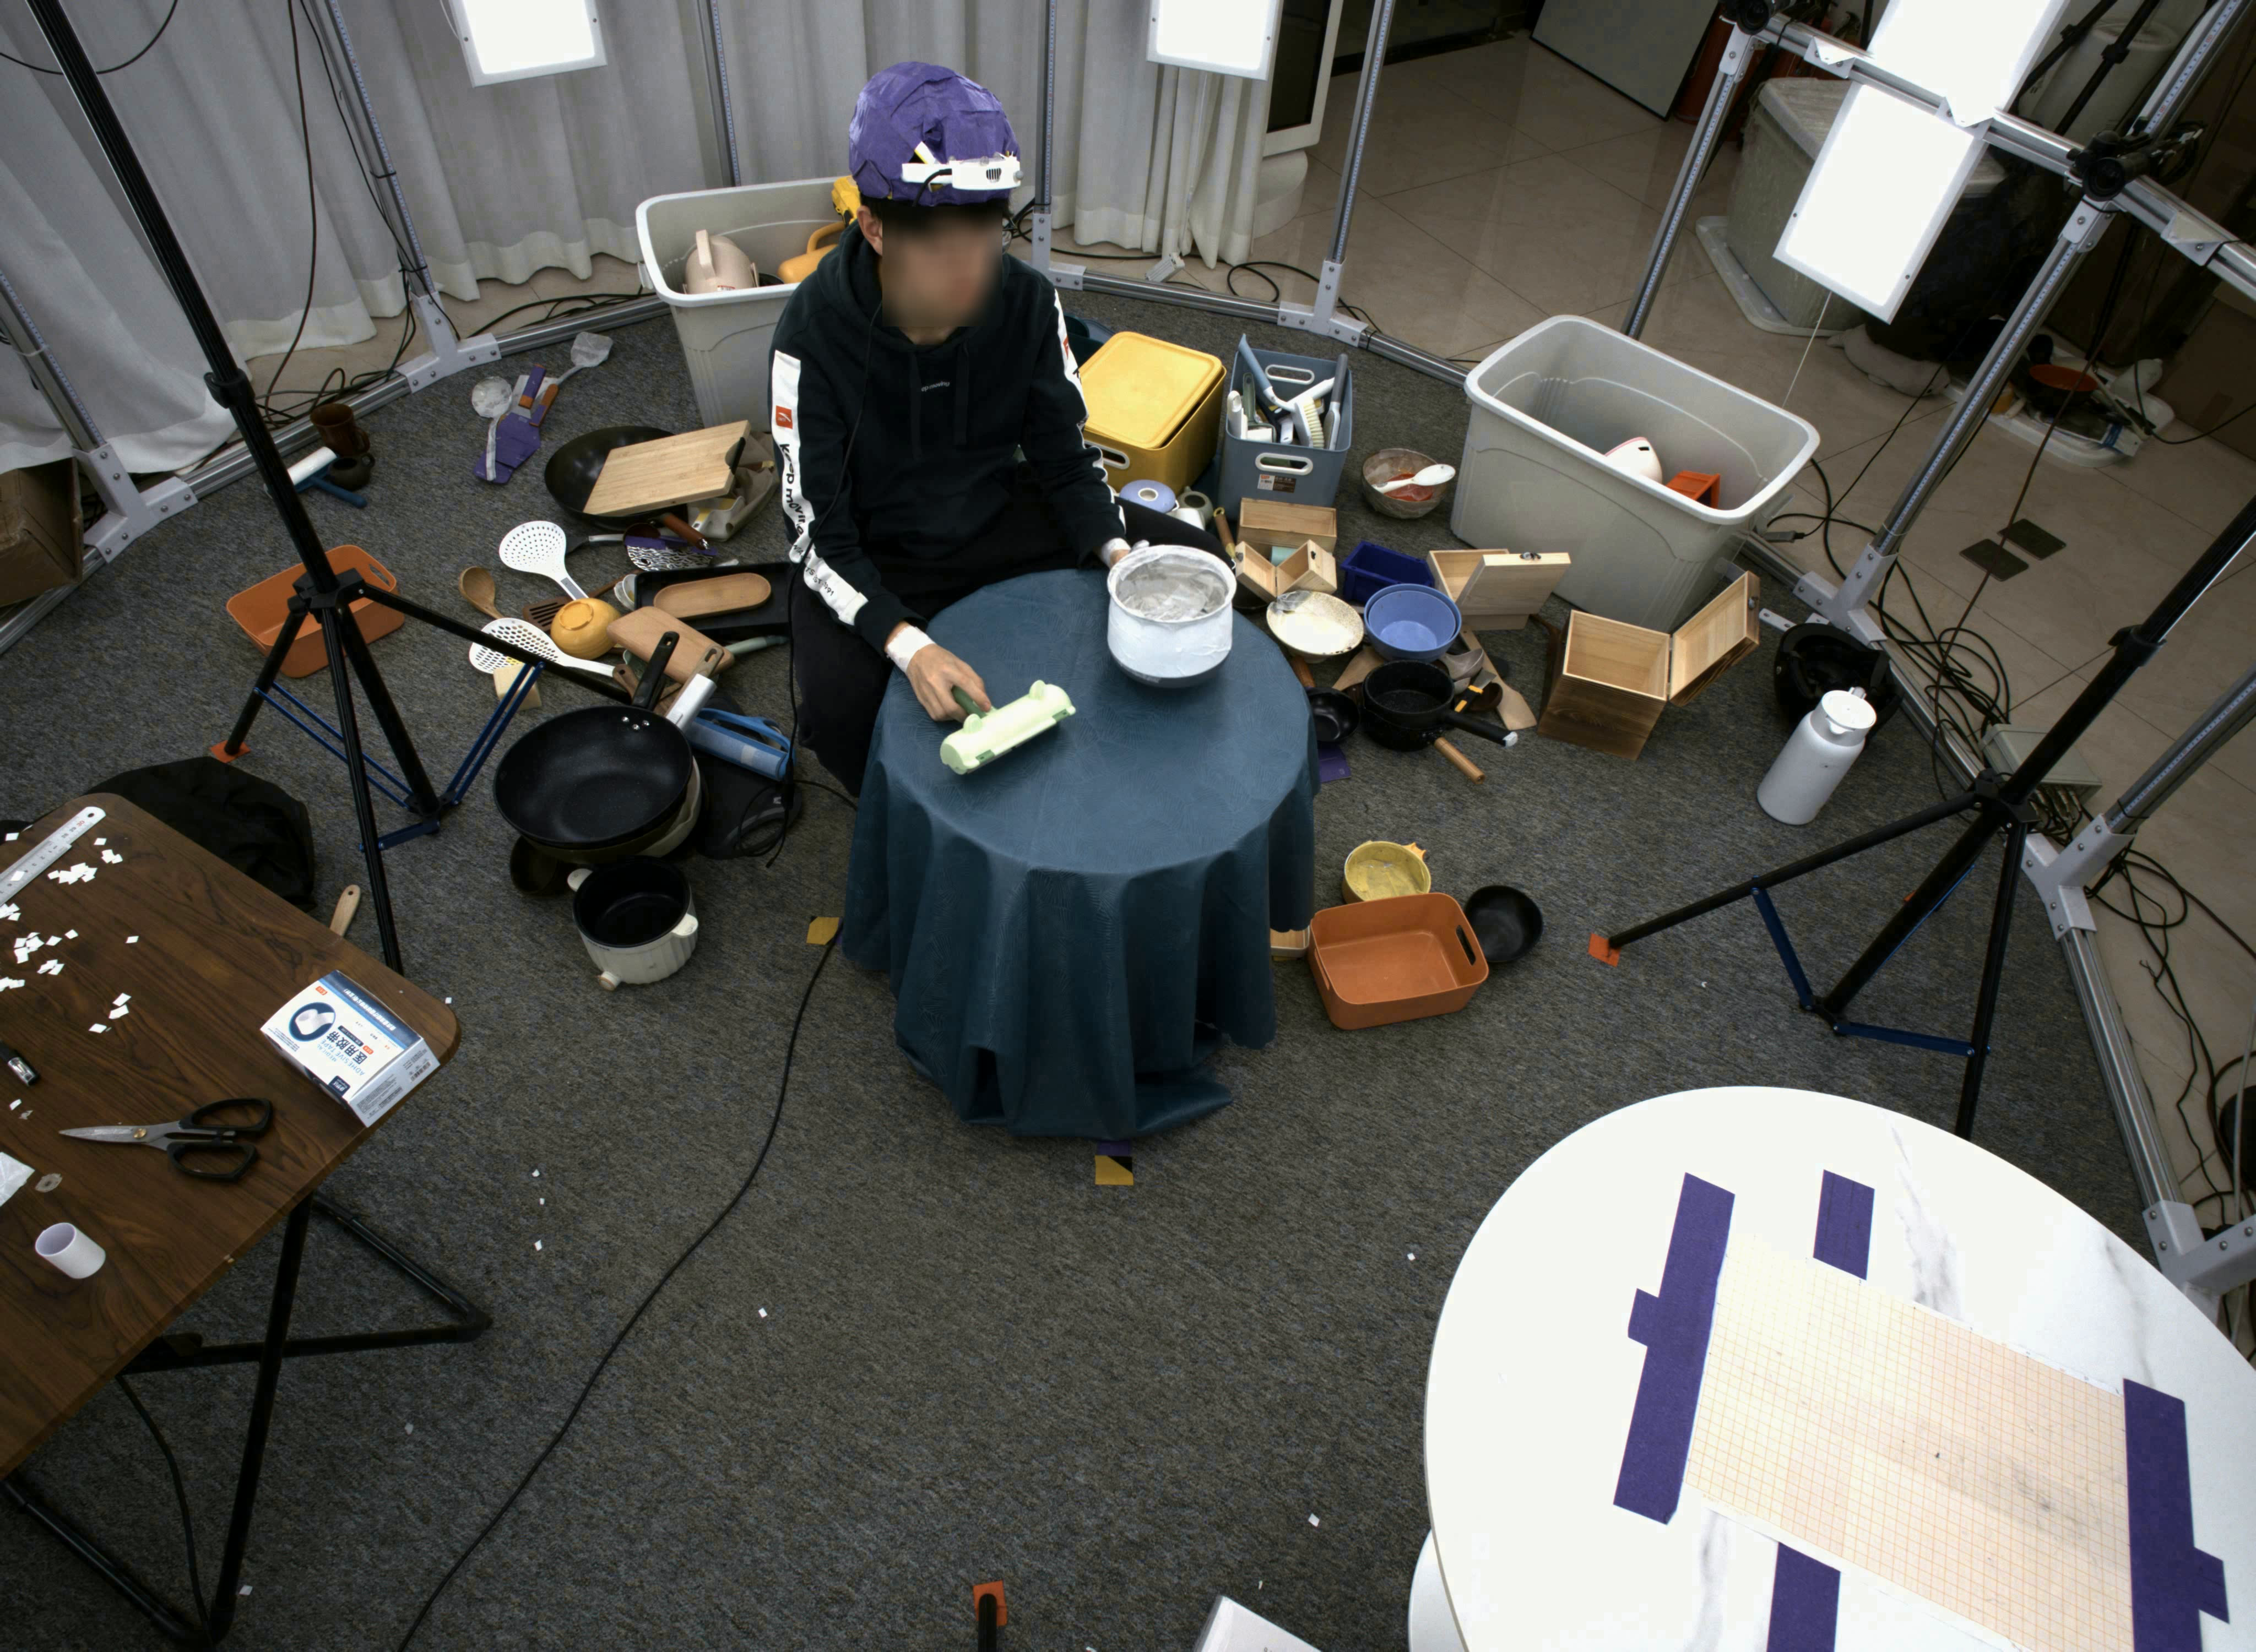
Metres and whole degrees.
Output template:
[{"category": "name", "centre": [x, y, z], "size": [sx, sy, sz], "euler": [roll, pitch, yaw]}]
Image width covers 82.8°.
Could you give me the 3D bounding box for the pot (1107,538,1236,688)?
[{"category": "pot", "centre": [0.048, -0.310, 1.821], "size": [0.179, 0.133, 0.239], "euler": [-16, 48, -16]}]

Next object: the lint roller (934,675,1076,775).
[{"category": "lint roller", "centre": [-0.199, -0.170, 1.735], "size": [0.200, 0.080, 0.186], "euler": [-32, 61, -33]}]
